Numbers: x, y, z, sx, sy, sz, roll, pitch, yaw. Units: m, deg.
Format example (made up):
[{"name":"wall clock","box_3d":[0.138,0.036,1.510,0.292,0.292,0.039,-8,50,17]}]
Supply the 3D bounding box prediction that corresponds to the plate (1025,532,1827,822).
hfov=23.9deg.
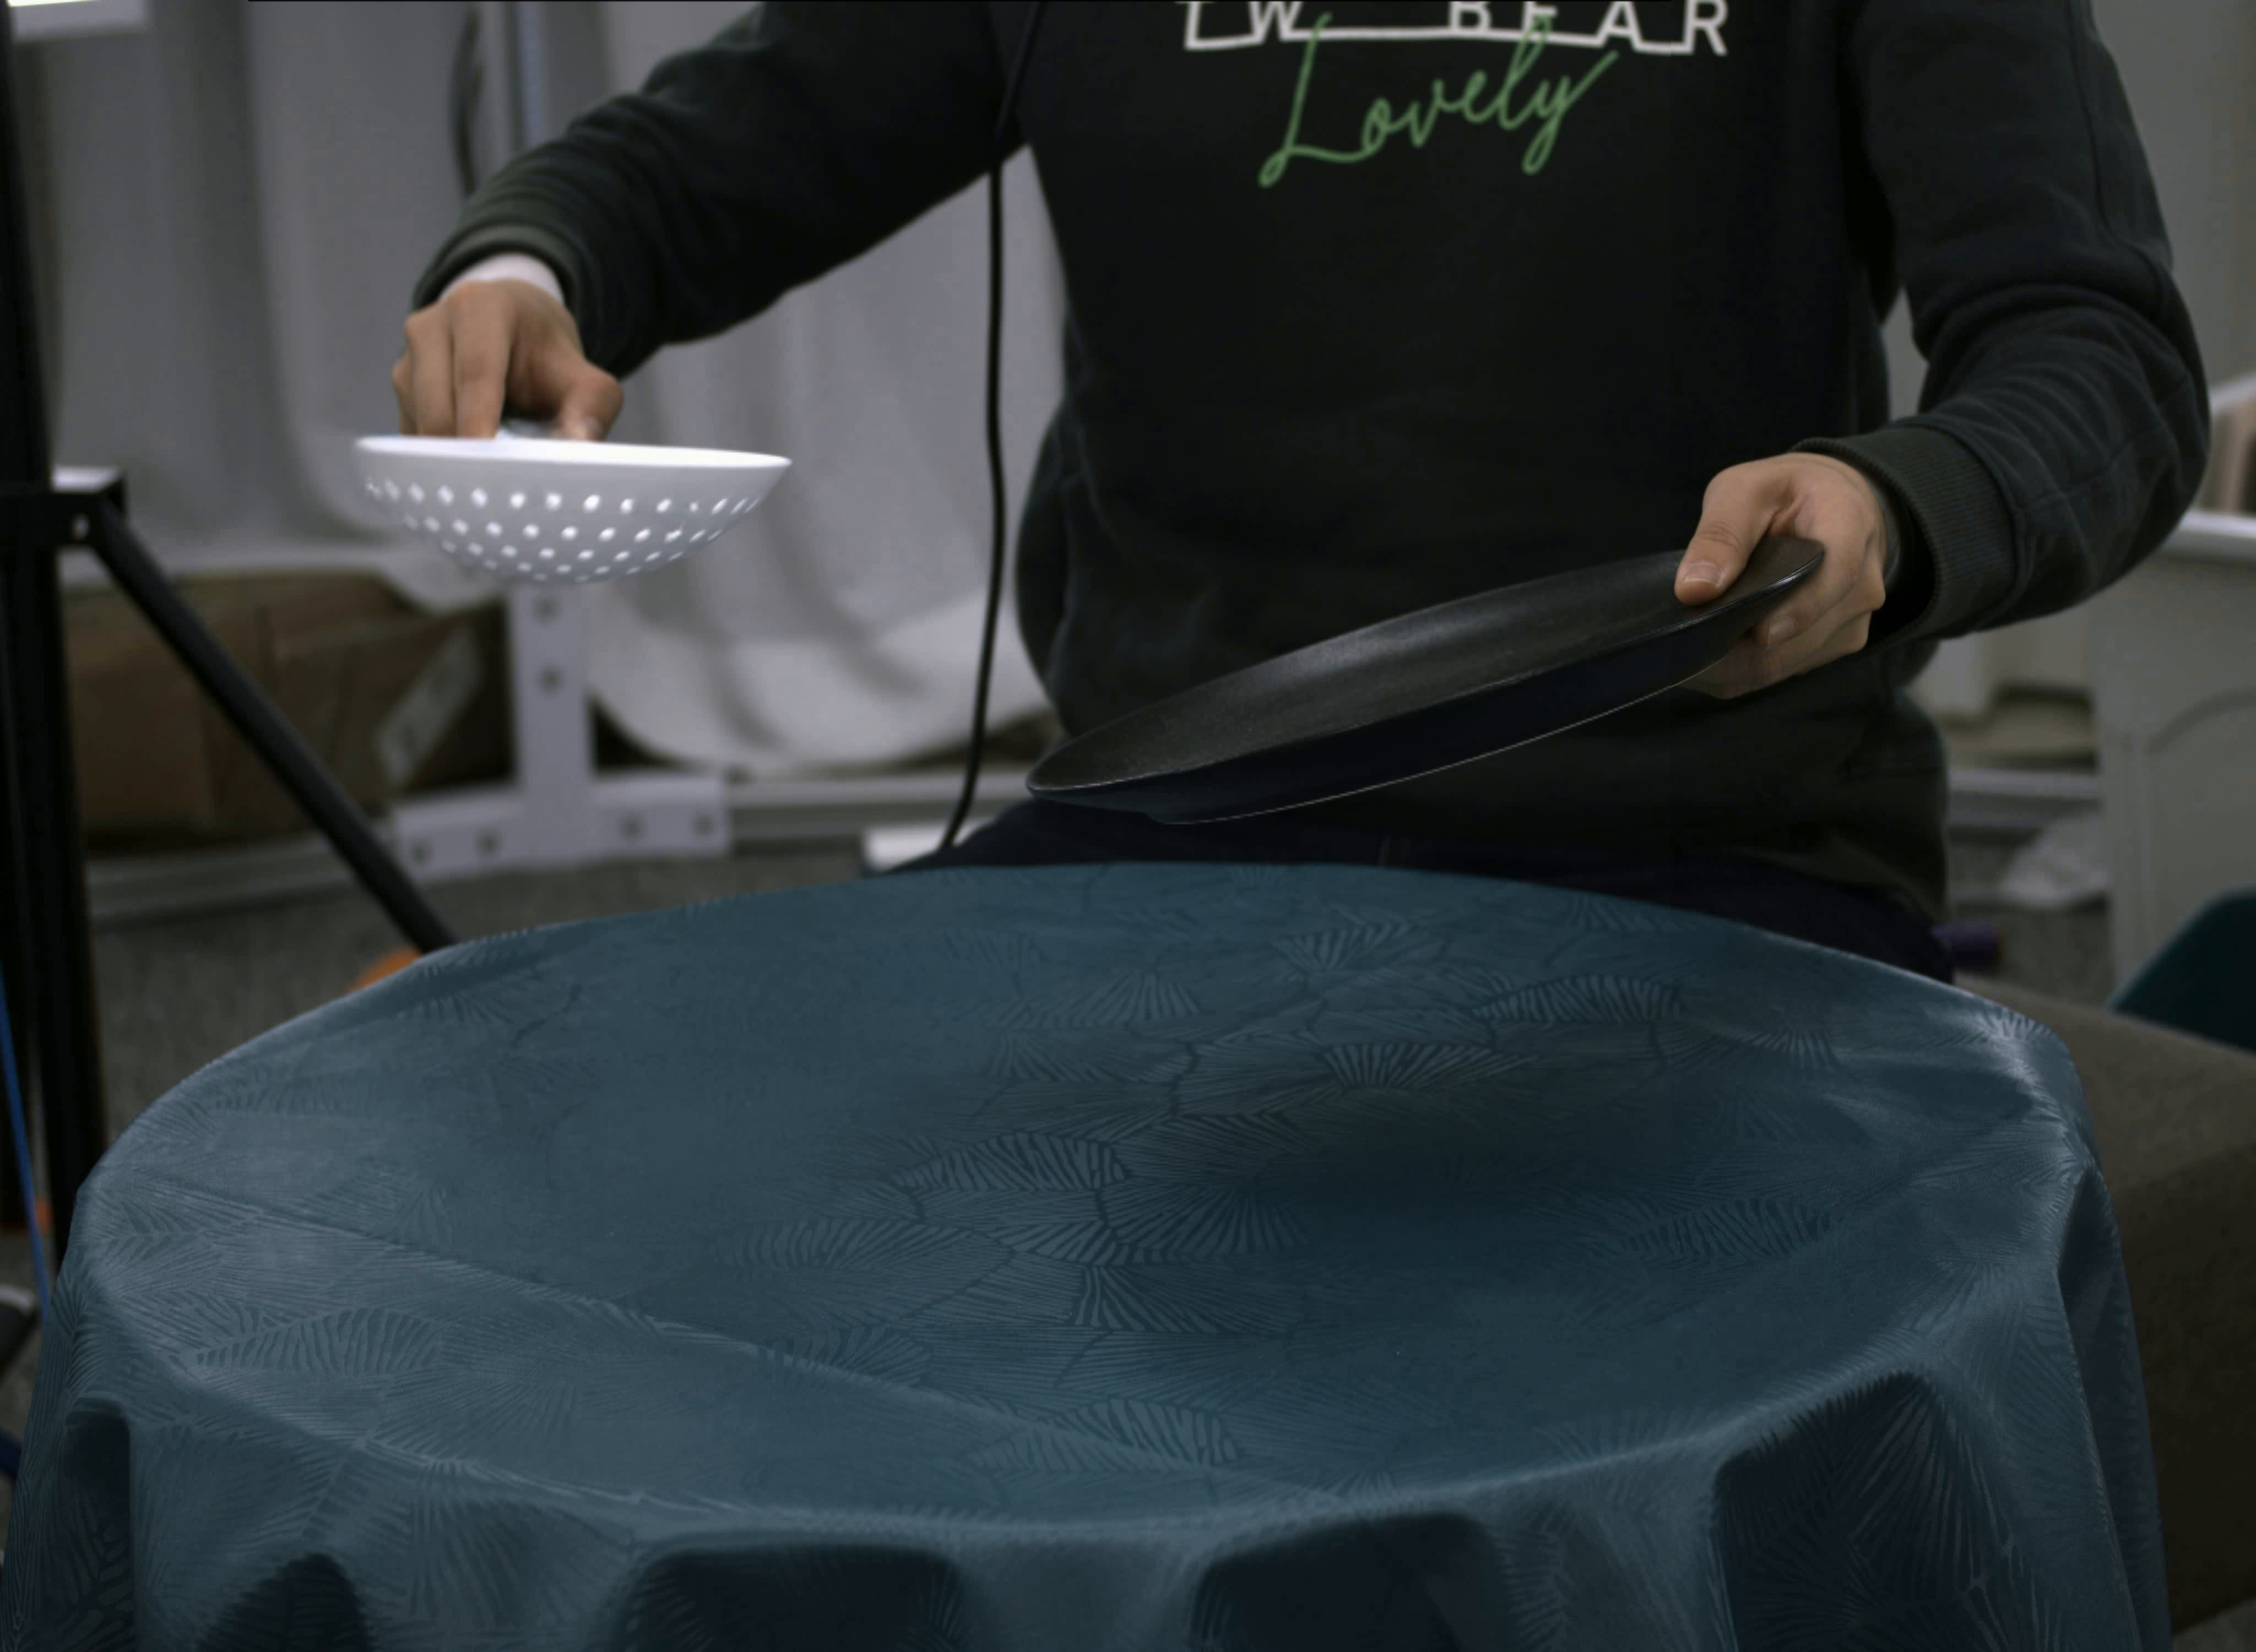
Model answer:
[{"name":"plate","box_3d":[0.088,-0.039,1.554,0.243,0.023,0.245,-17,7,0]}]

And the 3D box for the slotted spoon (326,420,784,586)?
[{"name":"slotted spoon","box_3d":[-0.185,-0.115,1.695,0.134,0.046,0.352,2,10,-8]}]
